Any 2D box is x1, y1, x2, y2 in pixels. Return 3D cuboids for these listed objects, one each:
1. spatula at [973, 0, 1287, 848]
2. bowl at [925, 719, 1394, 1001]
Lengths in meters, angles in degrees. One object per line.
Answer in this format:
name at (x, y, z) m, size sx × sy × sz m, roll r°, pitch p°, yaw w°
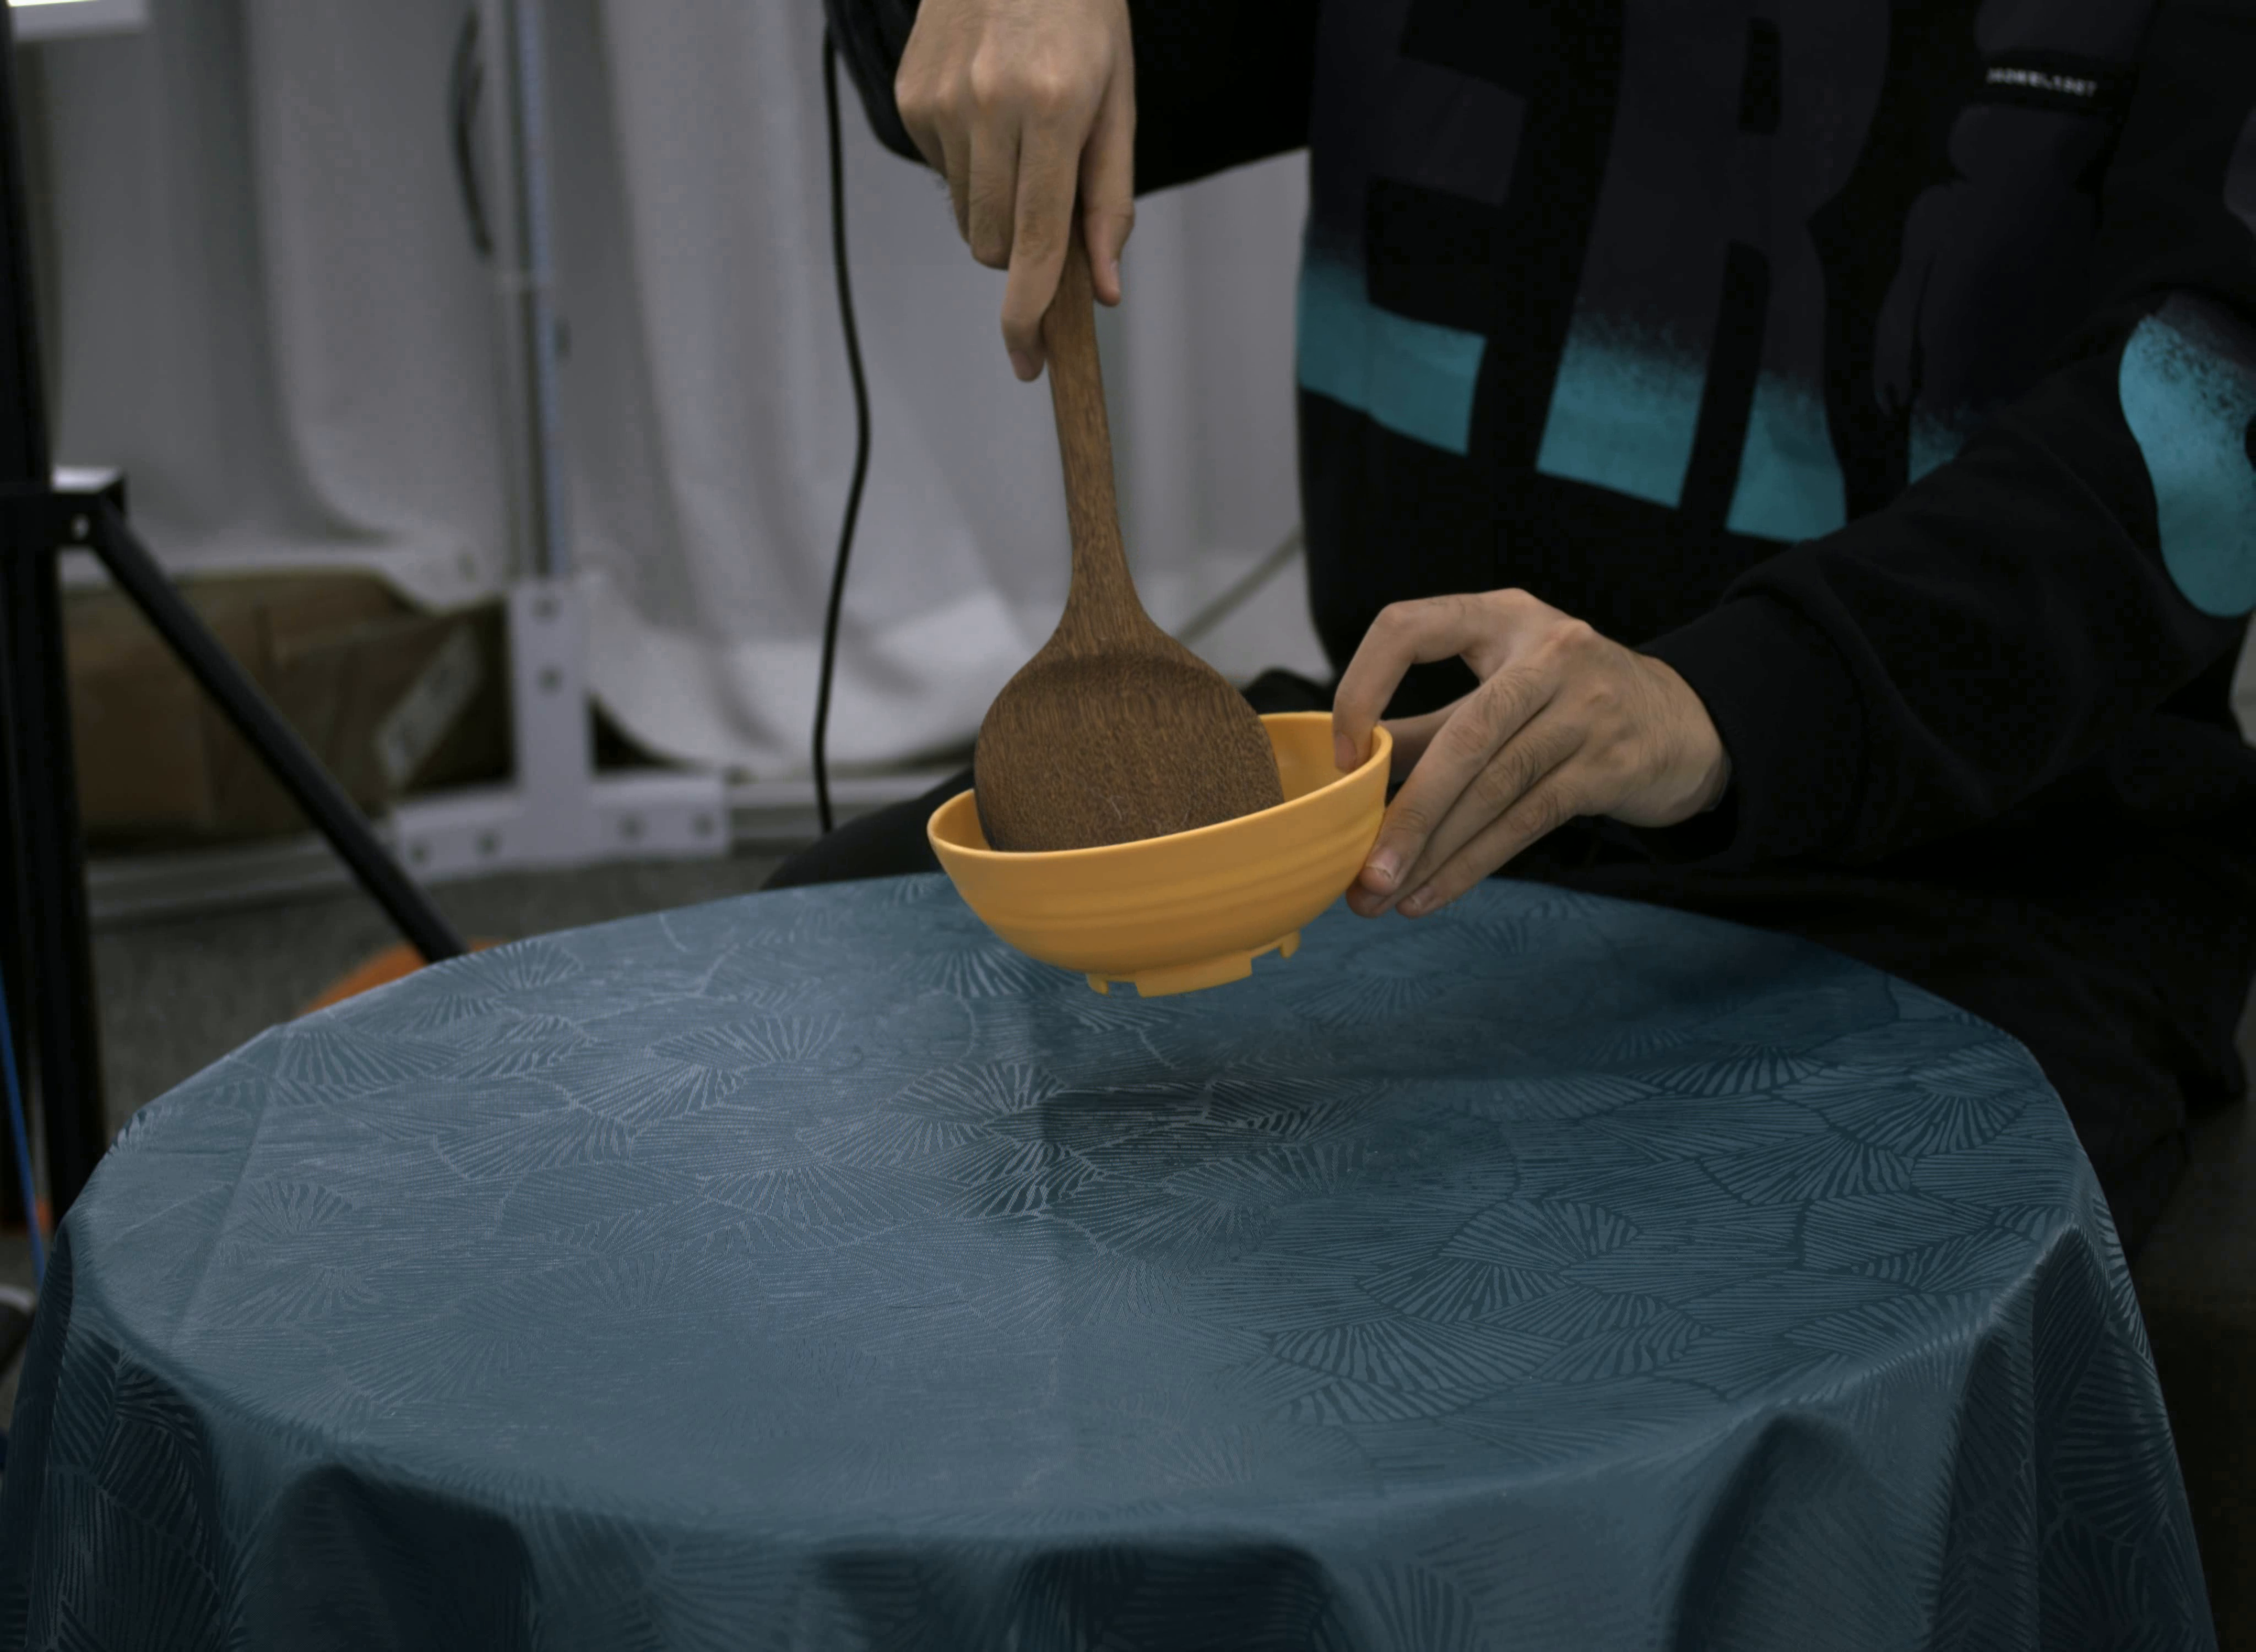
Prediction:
spatula at (-0.016, -0.136, 1.714) m, size 0.095 × 0.015 × 0.391 m, roll -4°, pitch 53°, yaw -4°
bowl at (0.013, 0.016, 1.617) m, size 0.145 × 0.060 × 0.146 m, roll -9°, pitch 14°, yaw 1°
